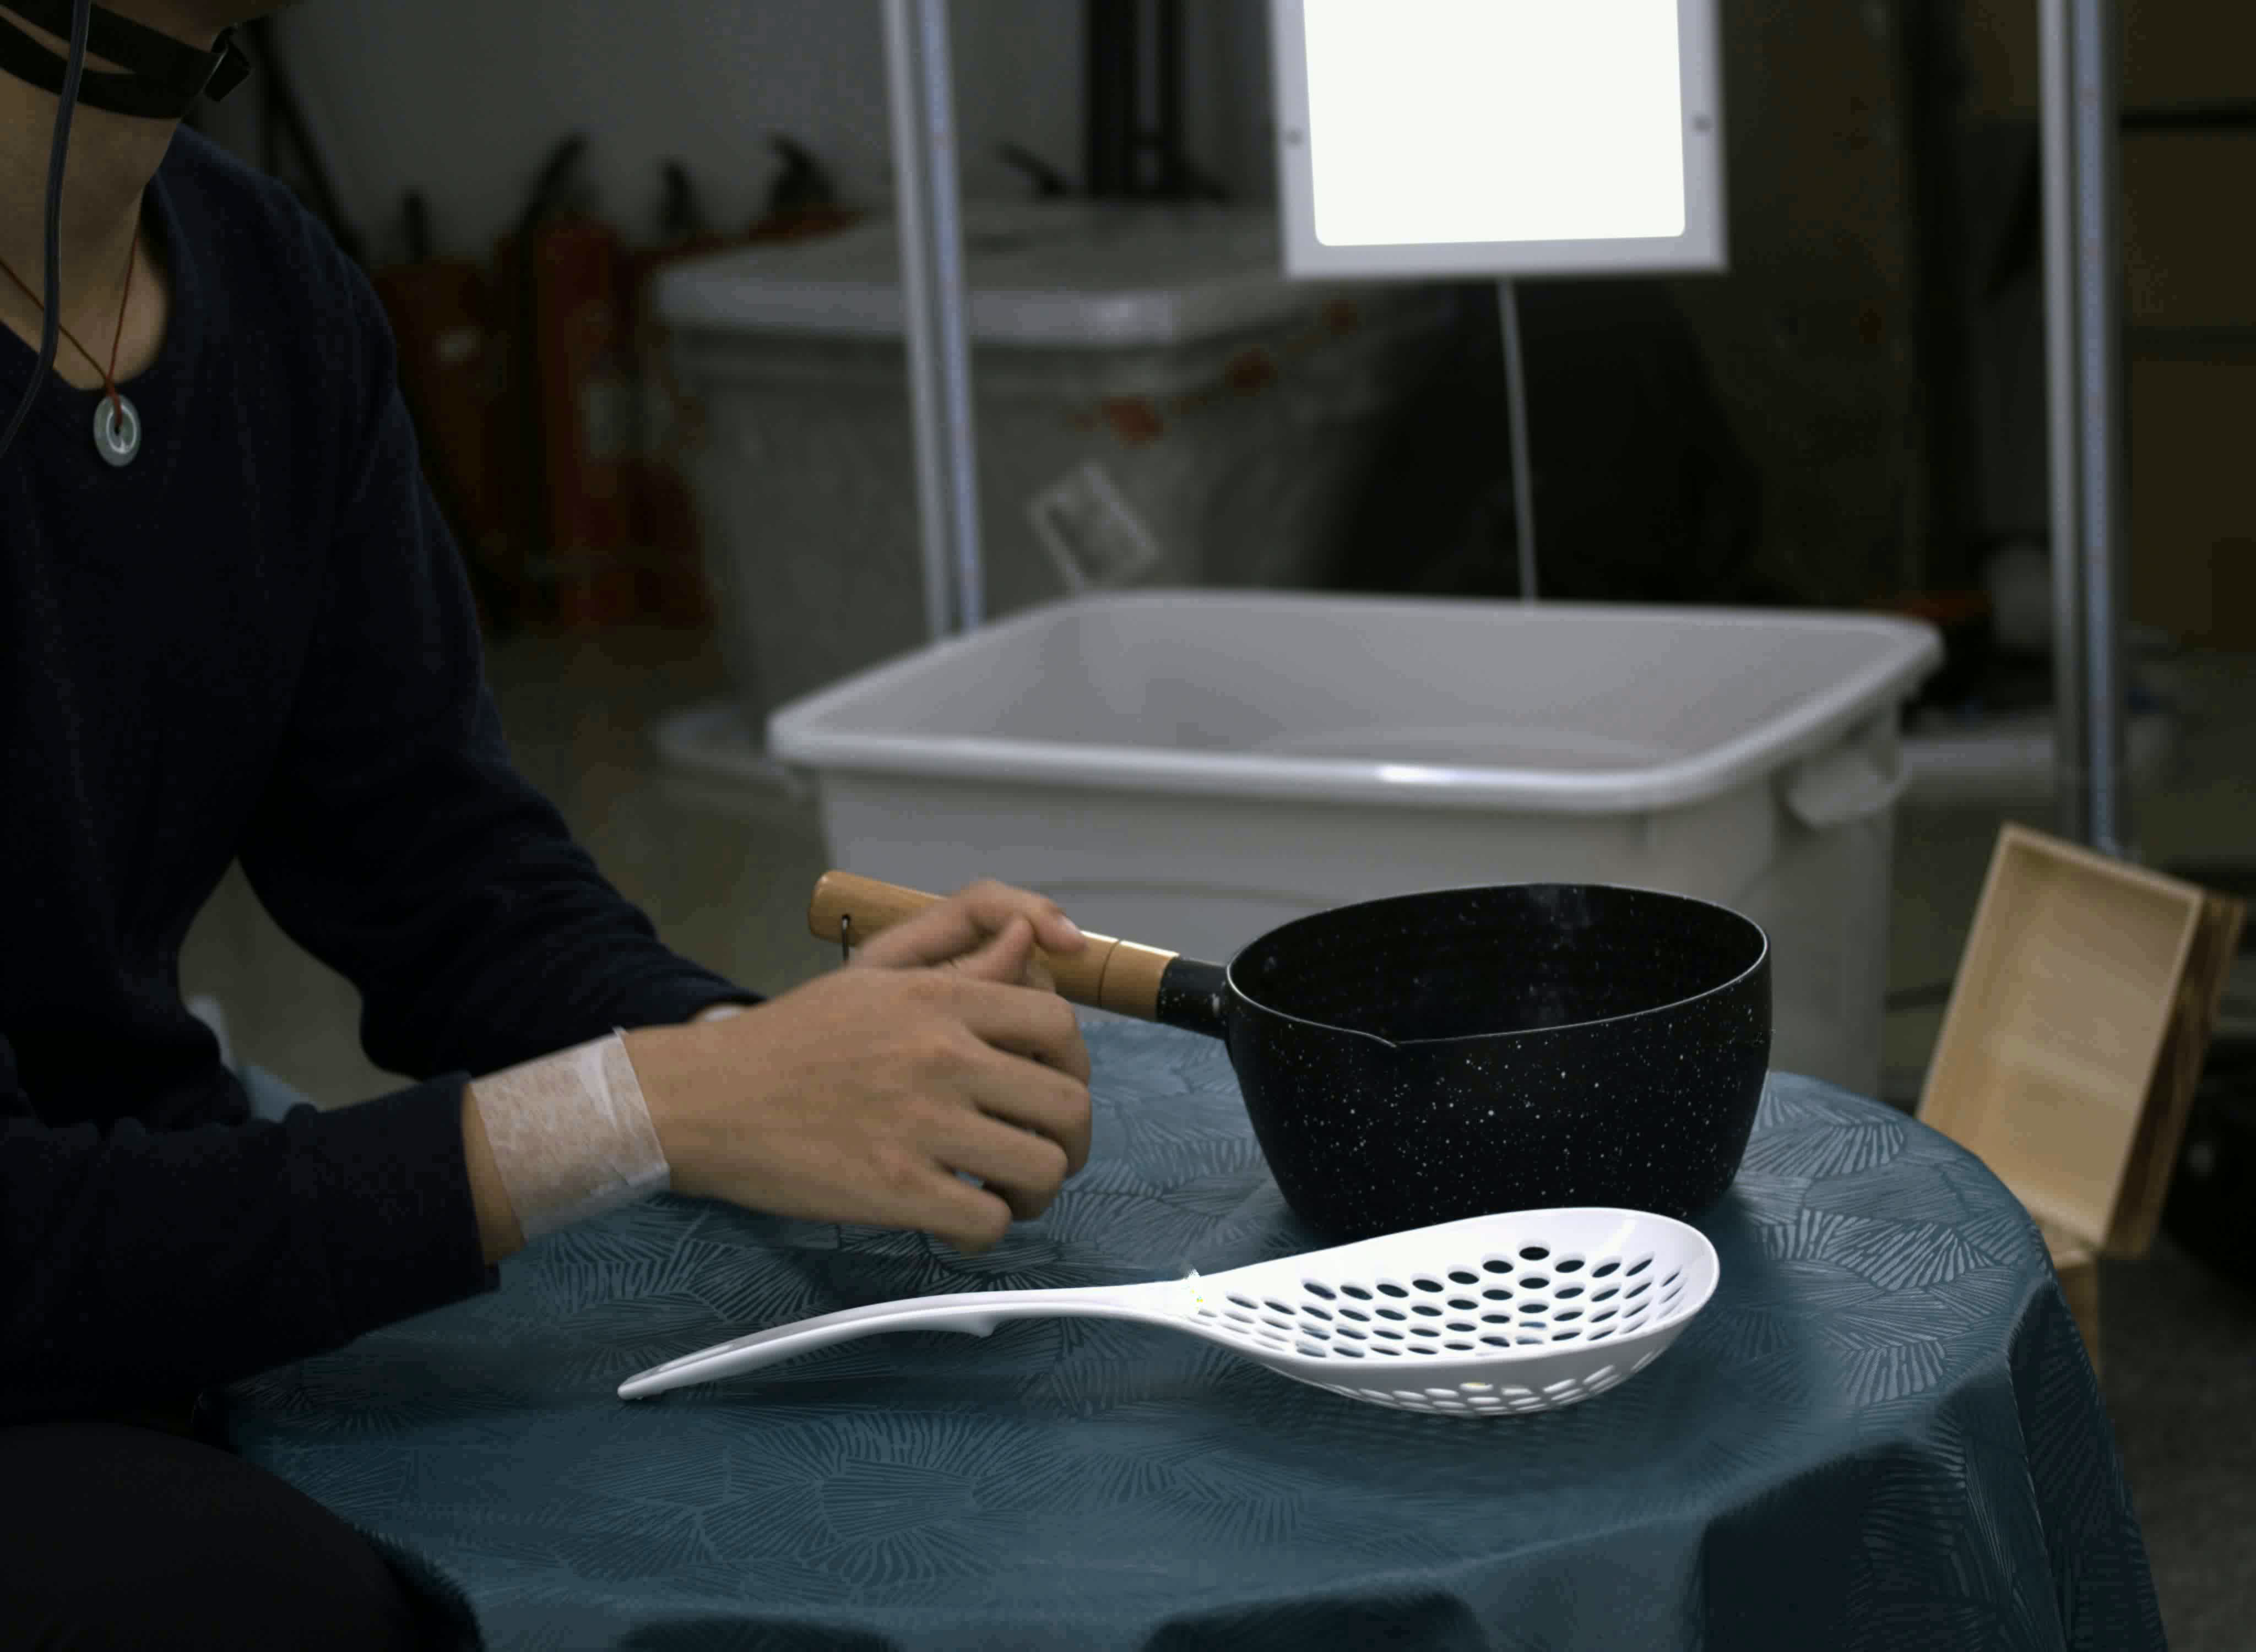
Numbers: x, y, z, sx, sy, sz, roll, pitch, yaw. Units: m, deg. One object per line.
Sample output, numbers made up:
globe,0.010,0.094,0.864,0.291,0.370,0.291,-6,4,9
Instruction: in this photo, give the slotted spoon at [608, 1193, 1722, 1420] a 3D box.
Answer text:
slotted spoon,0.009,0.155,1.686,0.350,0.050,0.135,0,16,13

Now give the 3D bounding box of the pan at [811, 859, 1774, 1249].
pan,0.052,0.070,1.878,0.347,0.108,0.204,2,17,21
